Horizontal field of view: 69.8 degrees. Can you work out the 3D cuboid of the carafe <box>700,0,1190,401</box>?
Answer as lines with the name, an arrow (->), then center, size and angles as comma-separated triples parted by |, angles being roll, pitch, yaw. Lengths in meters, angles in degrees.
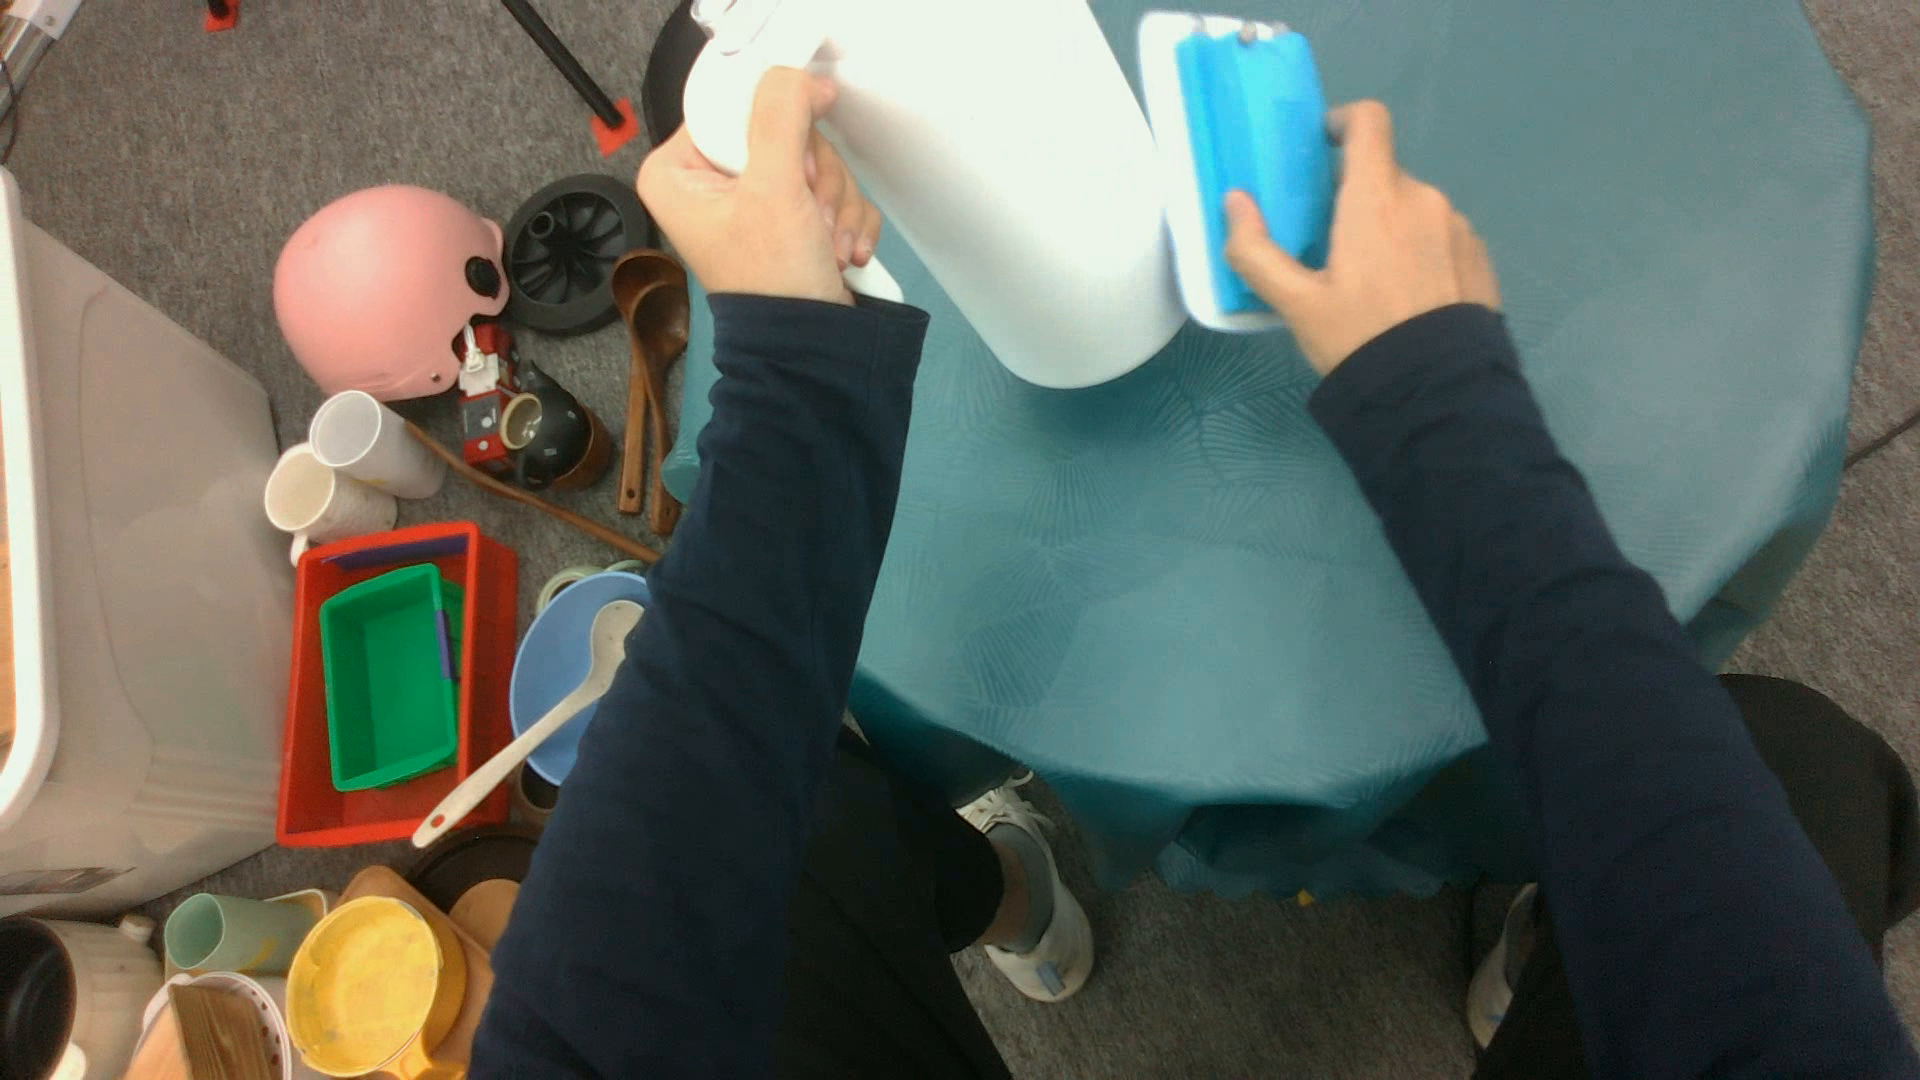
carafe -> 0.003, -0.161, 0.600 | 0.124, 0.268, 0.173 | 20, 75, 35

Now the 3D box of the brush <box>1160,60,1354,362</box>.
brush -> 0.140, -0.154, 0.622 | 0.084, 0.056, 0.144 | -4, 81, -20
